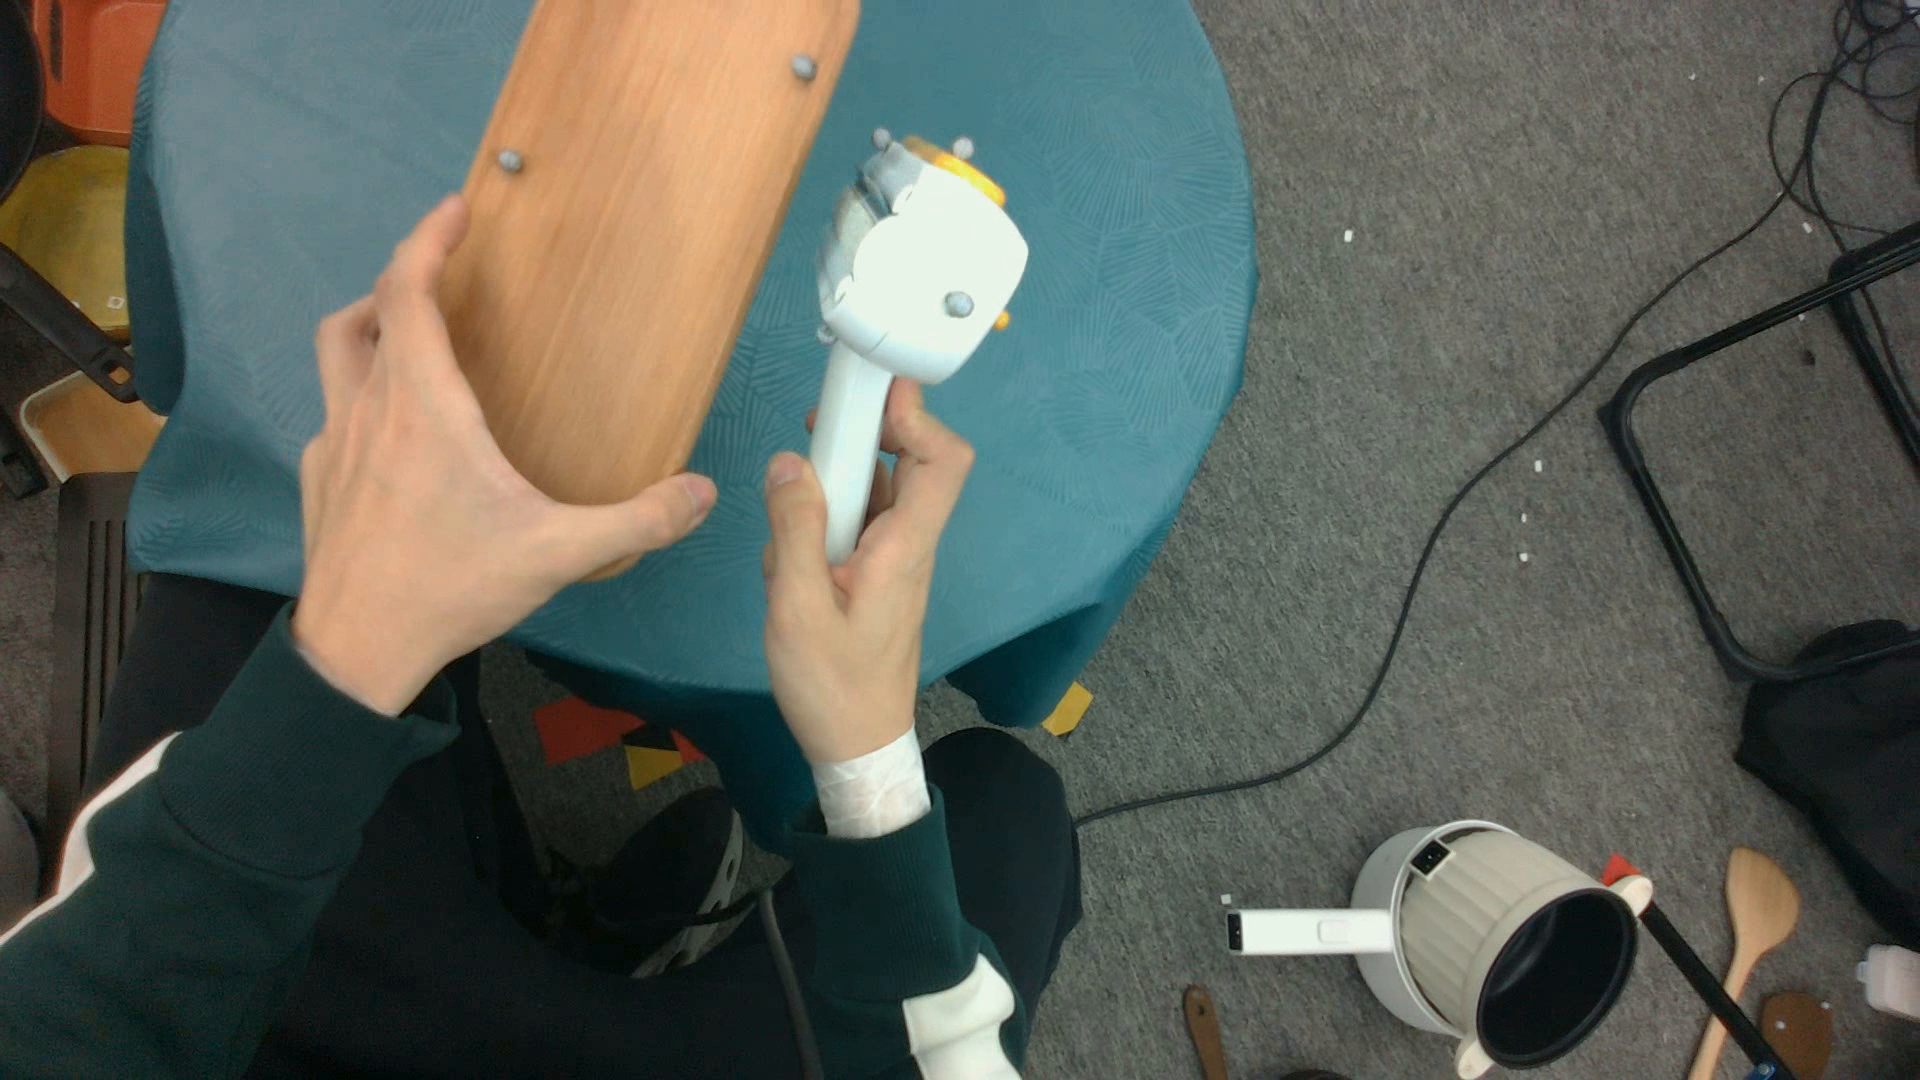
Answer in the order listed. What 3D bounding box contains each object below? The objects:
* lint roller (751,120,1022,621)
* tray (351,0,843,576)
[{"bbox_3d":[-0.048,-0.059,0.525,0.074,0.193,0.192,23,107,-21],"label":"lint roller"},{"bbox_3d":[-0.136,-0.117,0.513,0.130,0.023,0.250,23,91,19],"label":"tray"}]
